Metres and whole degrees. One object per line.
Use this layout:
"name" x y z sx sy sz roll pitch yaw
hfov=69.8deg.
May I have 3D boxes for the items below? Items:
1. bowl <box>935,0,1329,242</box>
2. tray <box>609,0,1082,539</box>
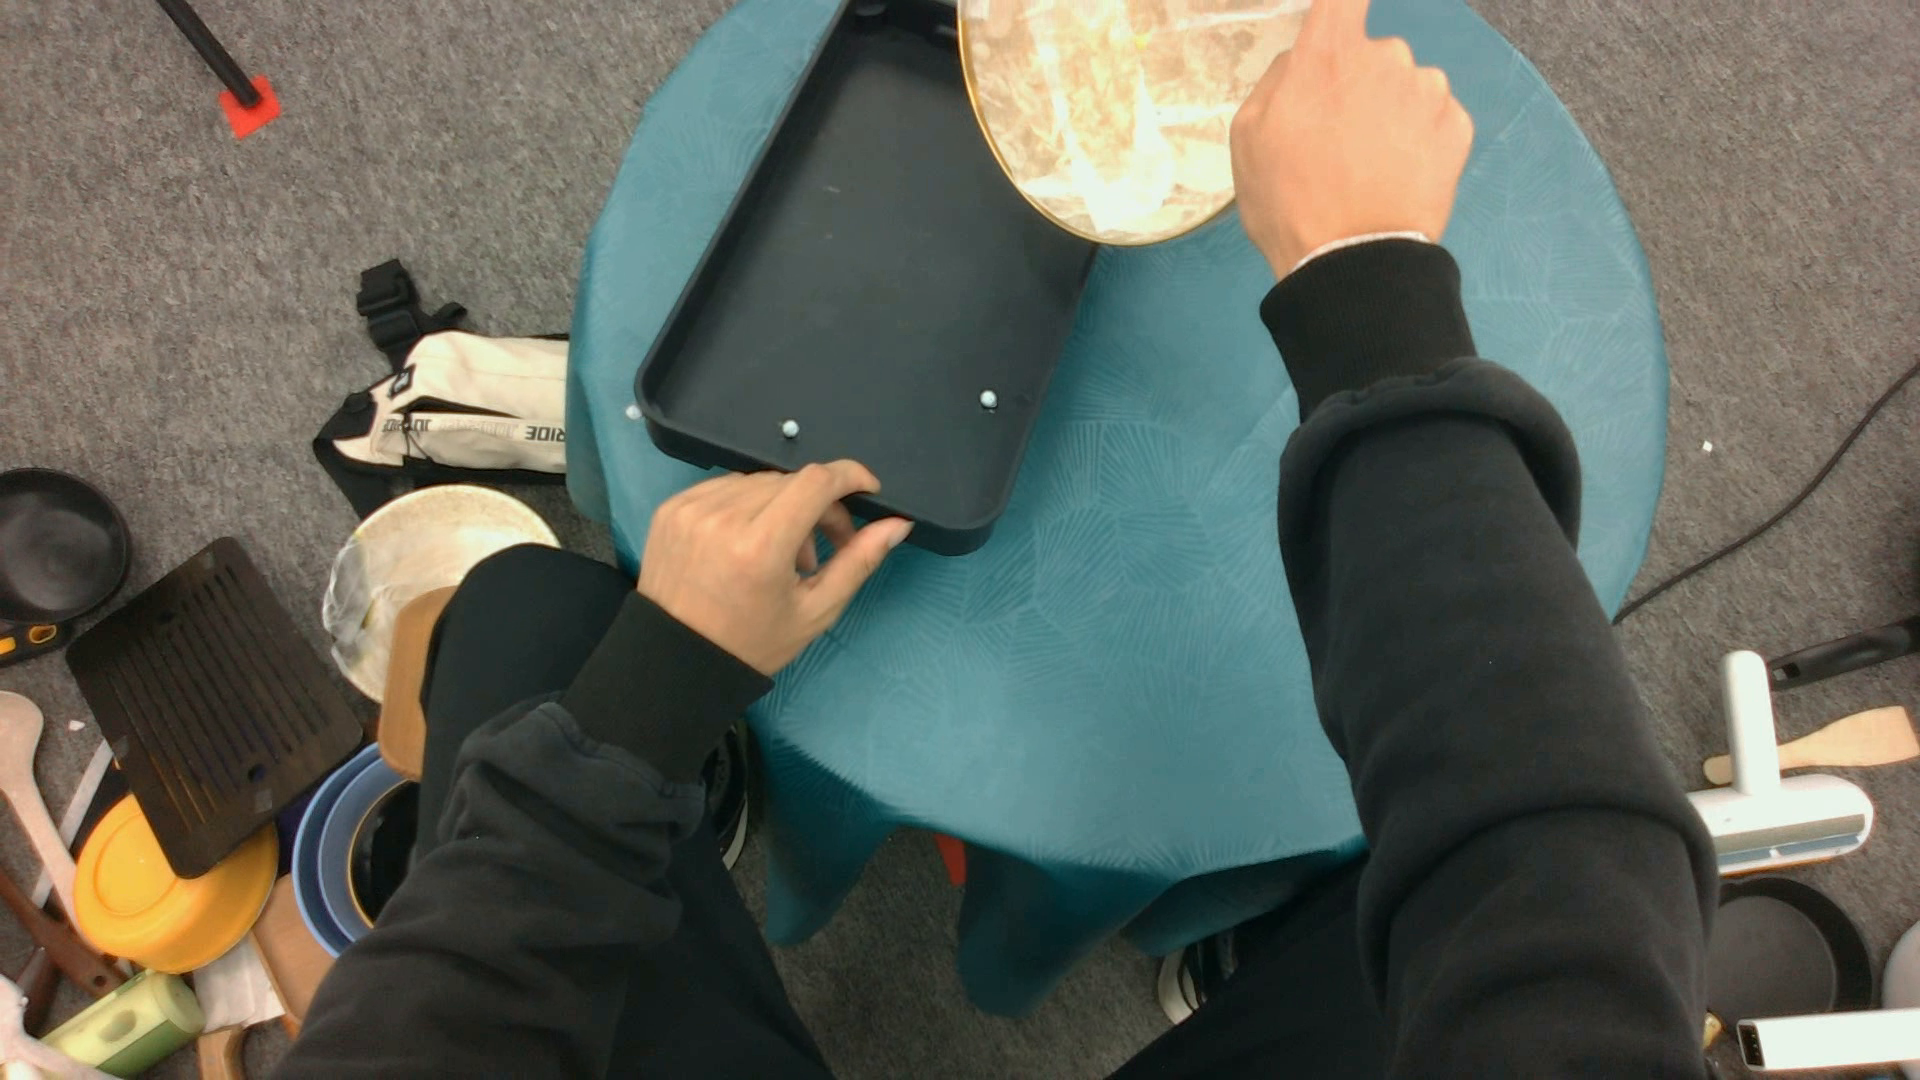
"bowl" 0.092 -0.247 0.648 0.095 0.213 0.215 -20 72 -44
"tray" -0.033 -0.162 0.713 0.184 0.037 0.319 21 62 1
